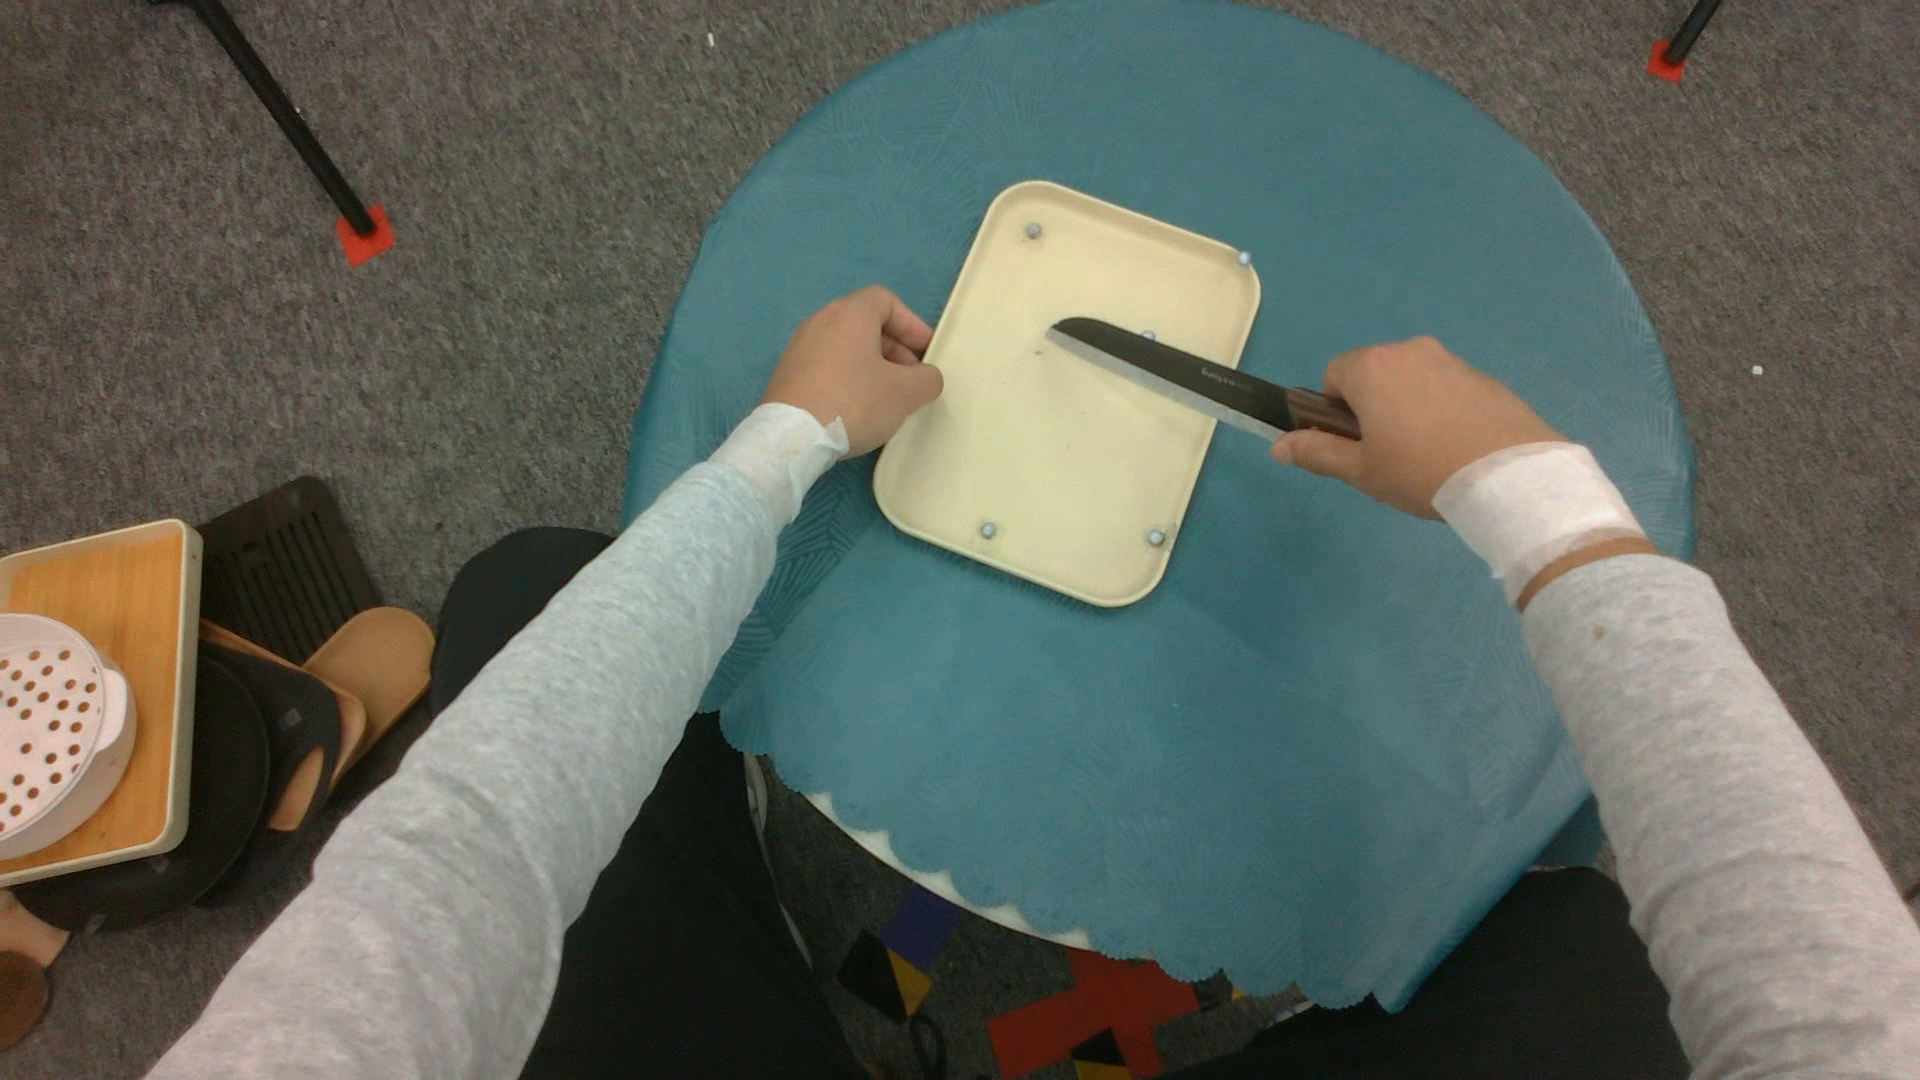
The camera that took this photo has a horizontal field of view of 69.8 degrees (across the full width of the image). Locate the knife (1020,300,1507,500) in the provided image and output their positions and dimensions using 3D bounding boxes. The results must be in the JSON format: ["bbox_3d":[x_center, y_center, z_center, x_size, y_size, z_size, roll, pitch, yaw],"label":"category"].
[{"bbox_3d":[0.144,-0.078,0.721,0.289,0.050,0.020,25,60,33],"label":"knife"}]

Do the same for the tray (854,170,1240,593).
[{"bbox_3d":[0.053,-0.095,0.790,0.171,0.017,0.240,21,71,4],"label":"tray"}]
